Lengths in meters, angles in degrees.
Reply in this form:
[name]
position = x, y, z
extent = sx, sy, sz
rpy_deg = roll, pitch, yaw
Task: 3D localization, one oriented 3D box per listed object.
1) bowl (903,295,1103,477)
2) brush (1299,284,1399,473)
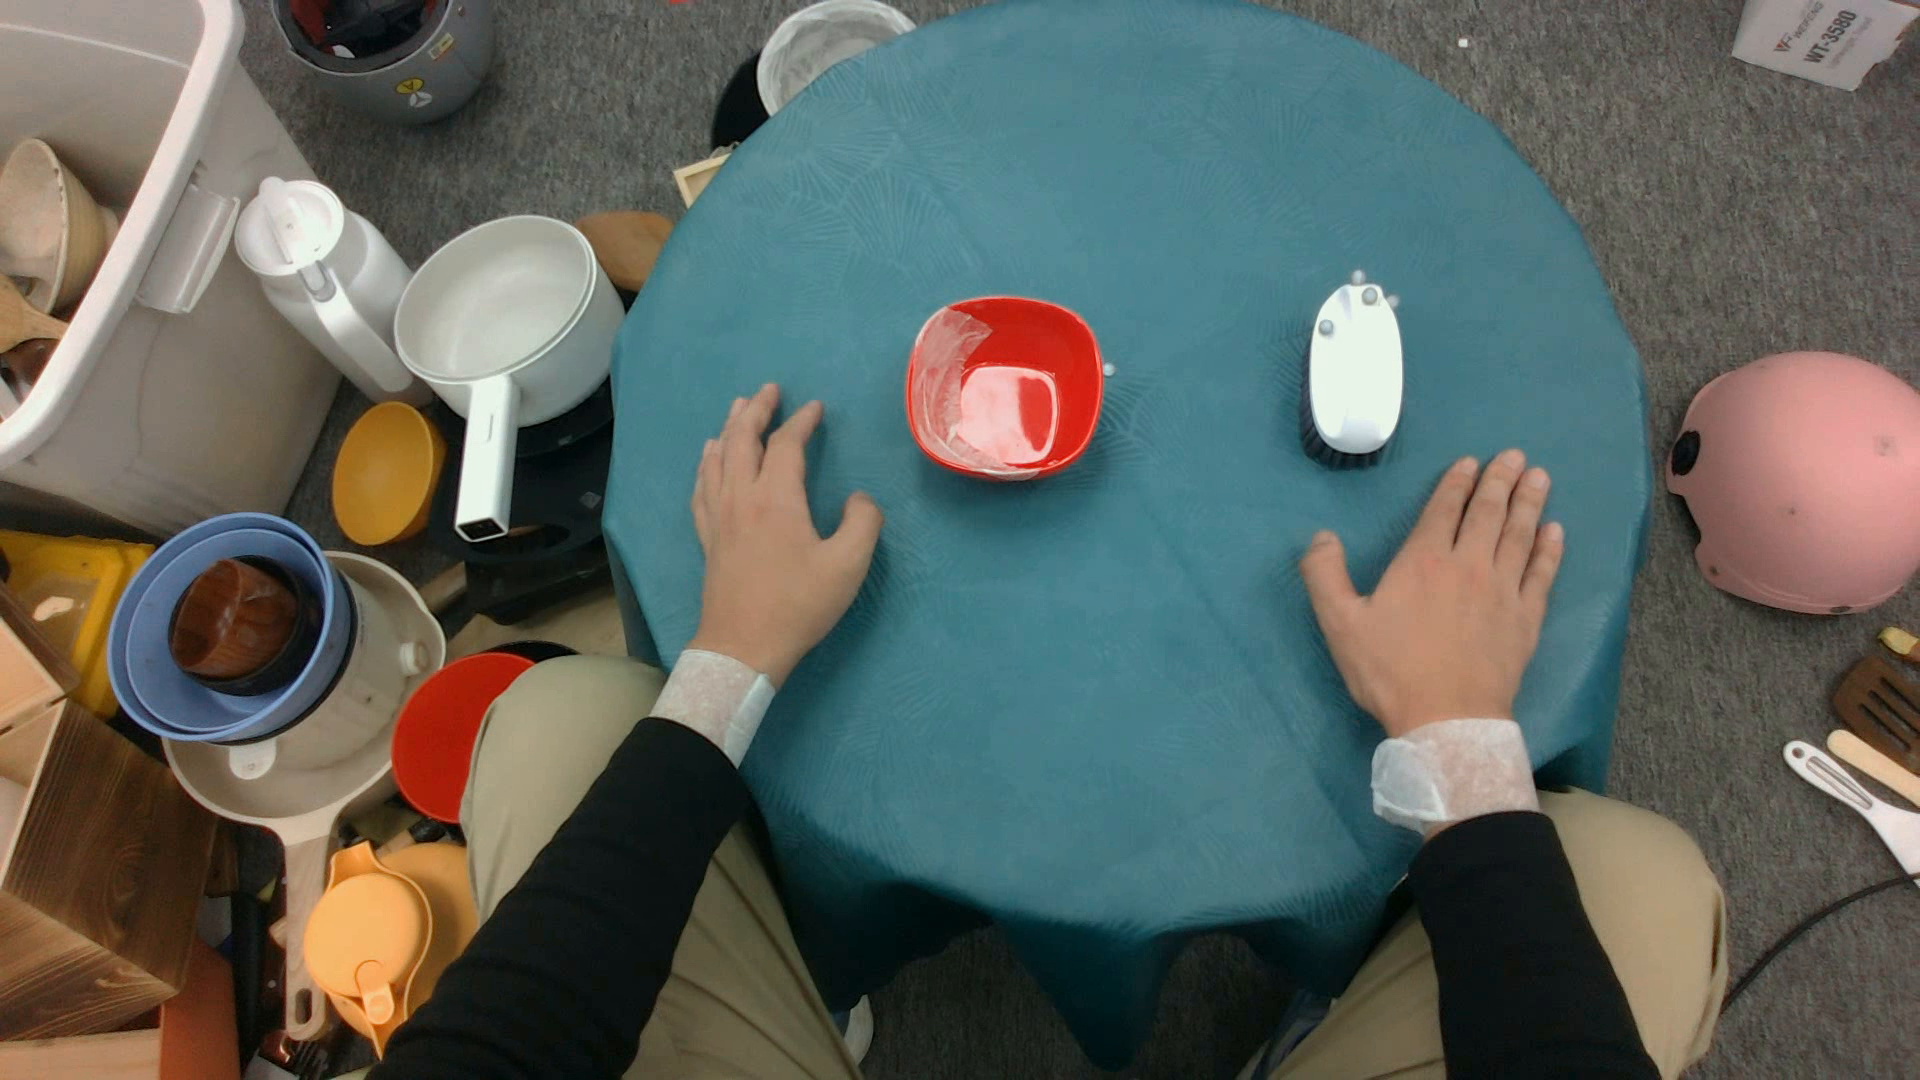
[bowl]
position = 0.024, -0.079, 0.783
extent = 0.119, 0.051, 0.119
rpy_deg = 0, 66, 0
[brush]
position = 0.221, -0.096, 0.768
extent = 0.050, 0.072, 0.099
rpy_deg = 6, 70, 5
